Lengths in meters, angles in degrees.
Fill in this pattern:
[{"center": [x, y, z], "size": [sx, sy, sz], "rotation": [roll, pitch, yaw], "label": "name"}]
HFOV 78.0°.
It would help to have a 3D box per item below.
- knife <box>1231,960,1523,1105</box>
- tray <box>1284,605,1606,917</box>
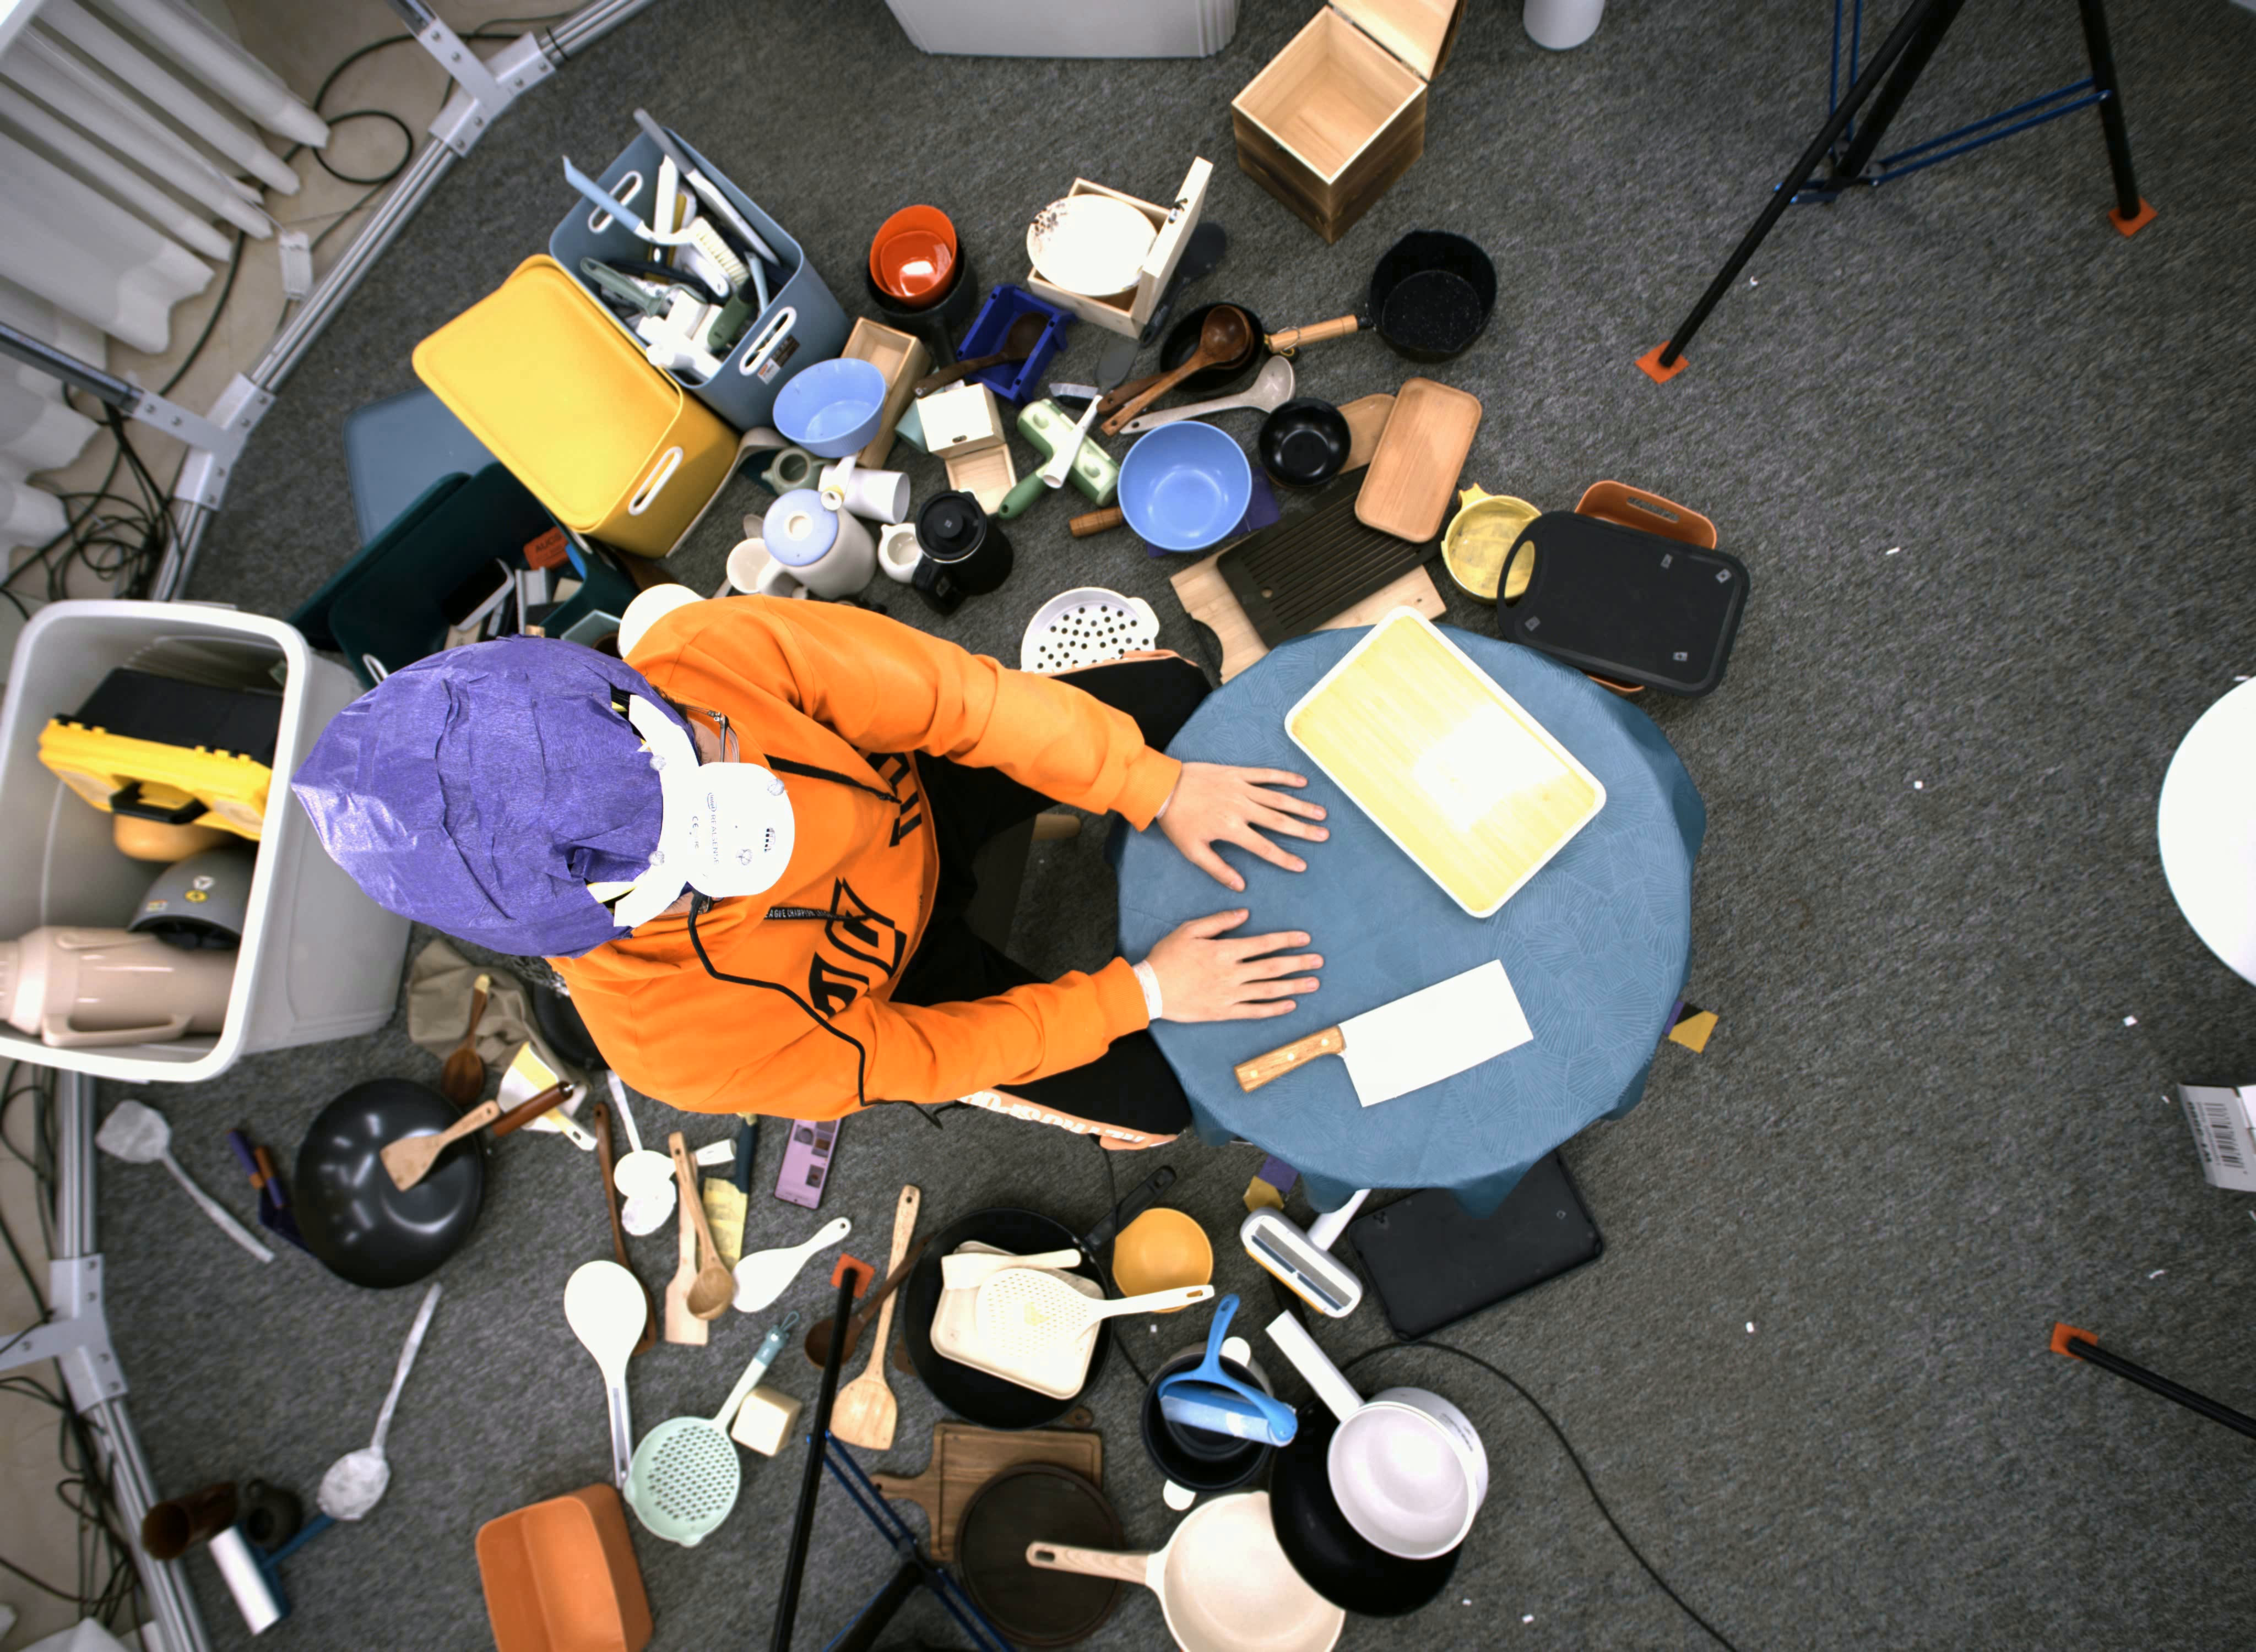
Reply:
[{"center": [0.262, 0.234, 1.445], "size": [0.307, 0.021, 0.092], "rotation": [-23, 84, 6], "label": "knife"}, {"center": [0.330, -0.071, 1.443], "size": [0.192, 0.027, 0.299], "rotation": [-45, 81, 5], "label": "tray"}]
